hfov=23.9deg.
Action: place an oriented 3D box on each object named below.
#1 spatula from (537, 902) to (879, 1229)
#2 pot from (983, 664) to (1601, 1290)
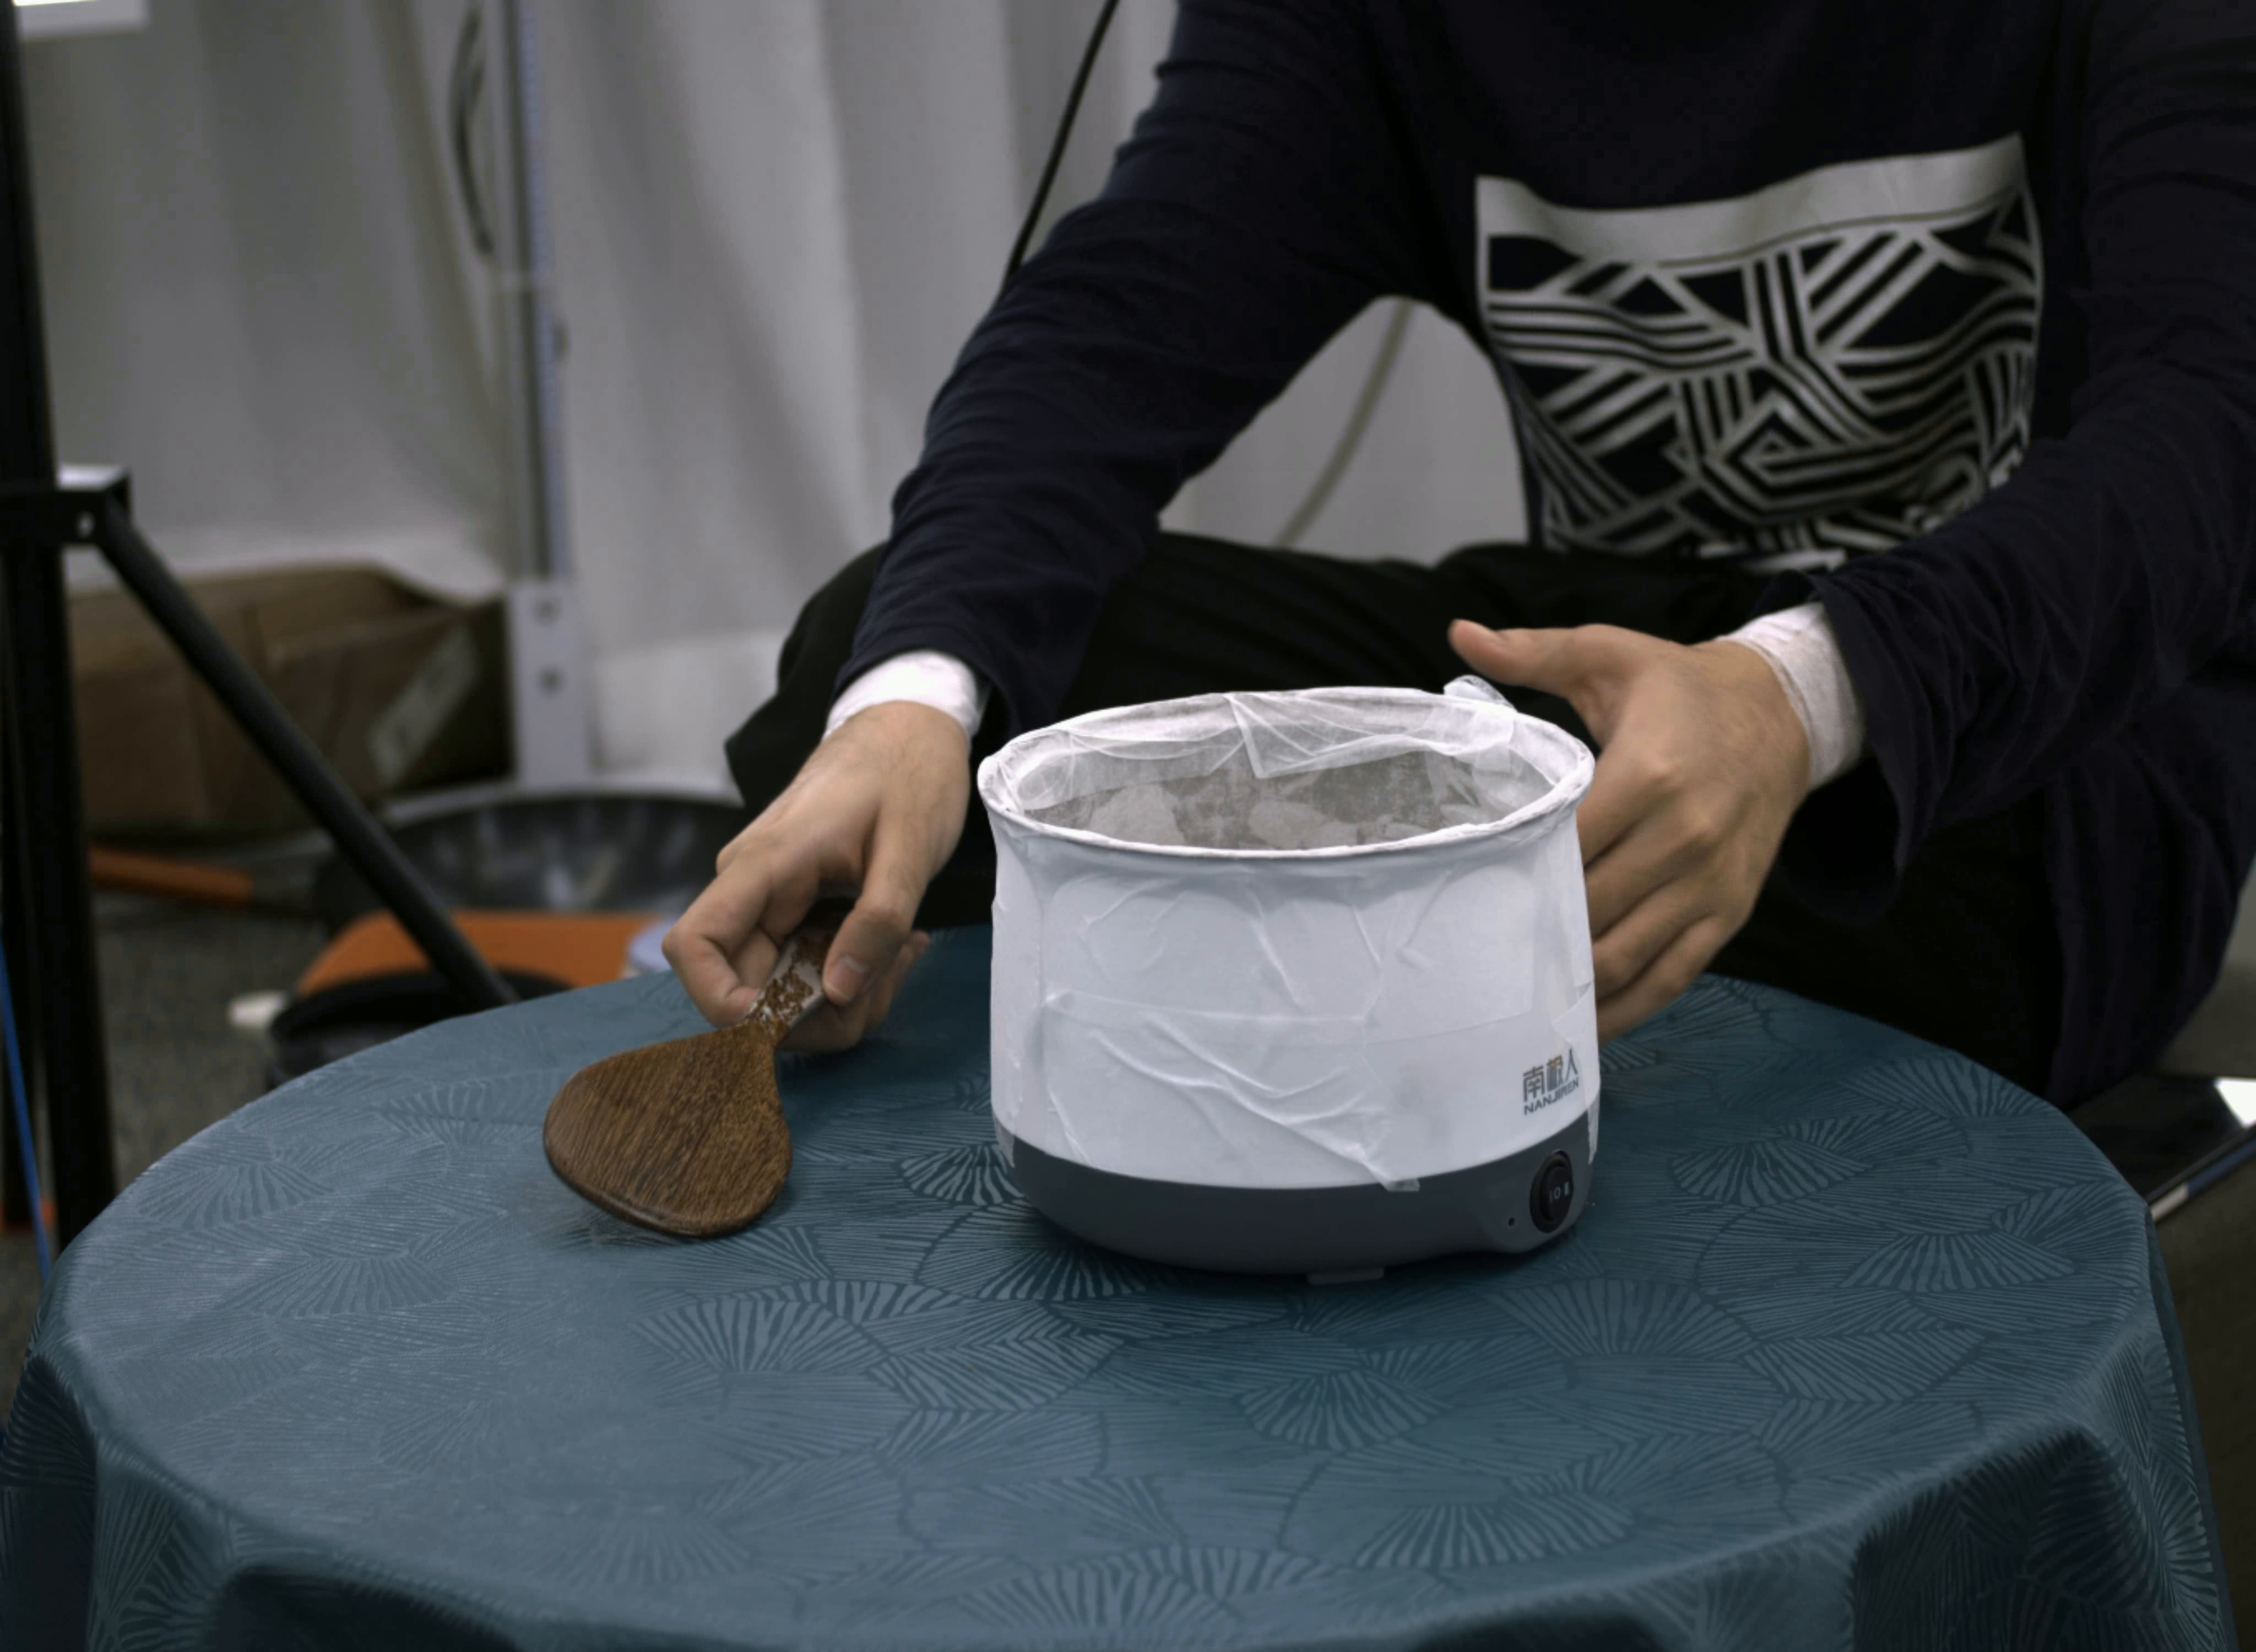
[{"bbox_3d":[-0.116,0.069,1.627,0.072,0.009,0.214,27,27,6],"label":"spatula"},{"bbox_3d":[0.062,0.036,1.550,0.182,0.136,0.229,11,22,32],"label":"pot"}]
